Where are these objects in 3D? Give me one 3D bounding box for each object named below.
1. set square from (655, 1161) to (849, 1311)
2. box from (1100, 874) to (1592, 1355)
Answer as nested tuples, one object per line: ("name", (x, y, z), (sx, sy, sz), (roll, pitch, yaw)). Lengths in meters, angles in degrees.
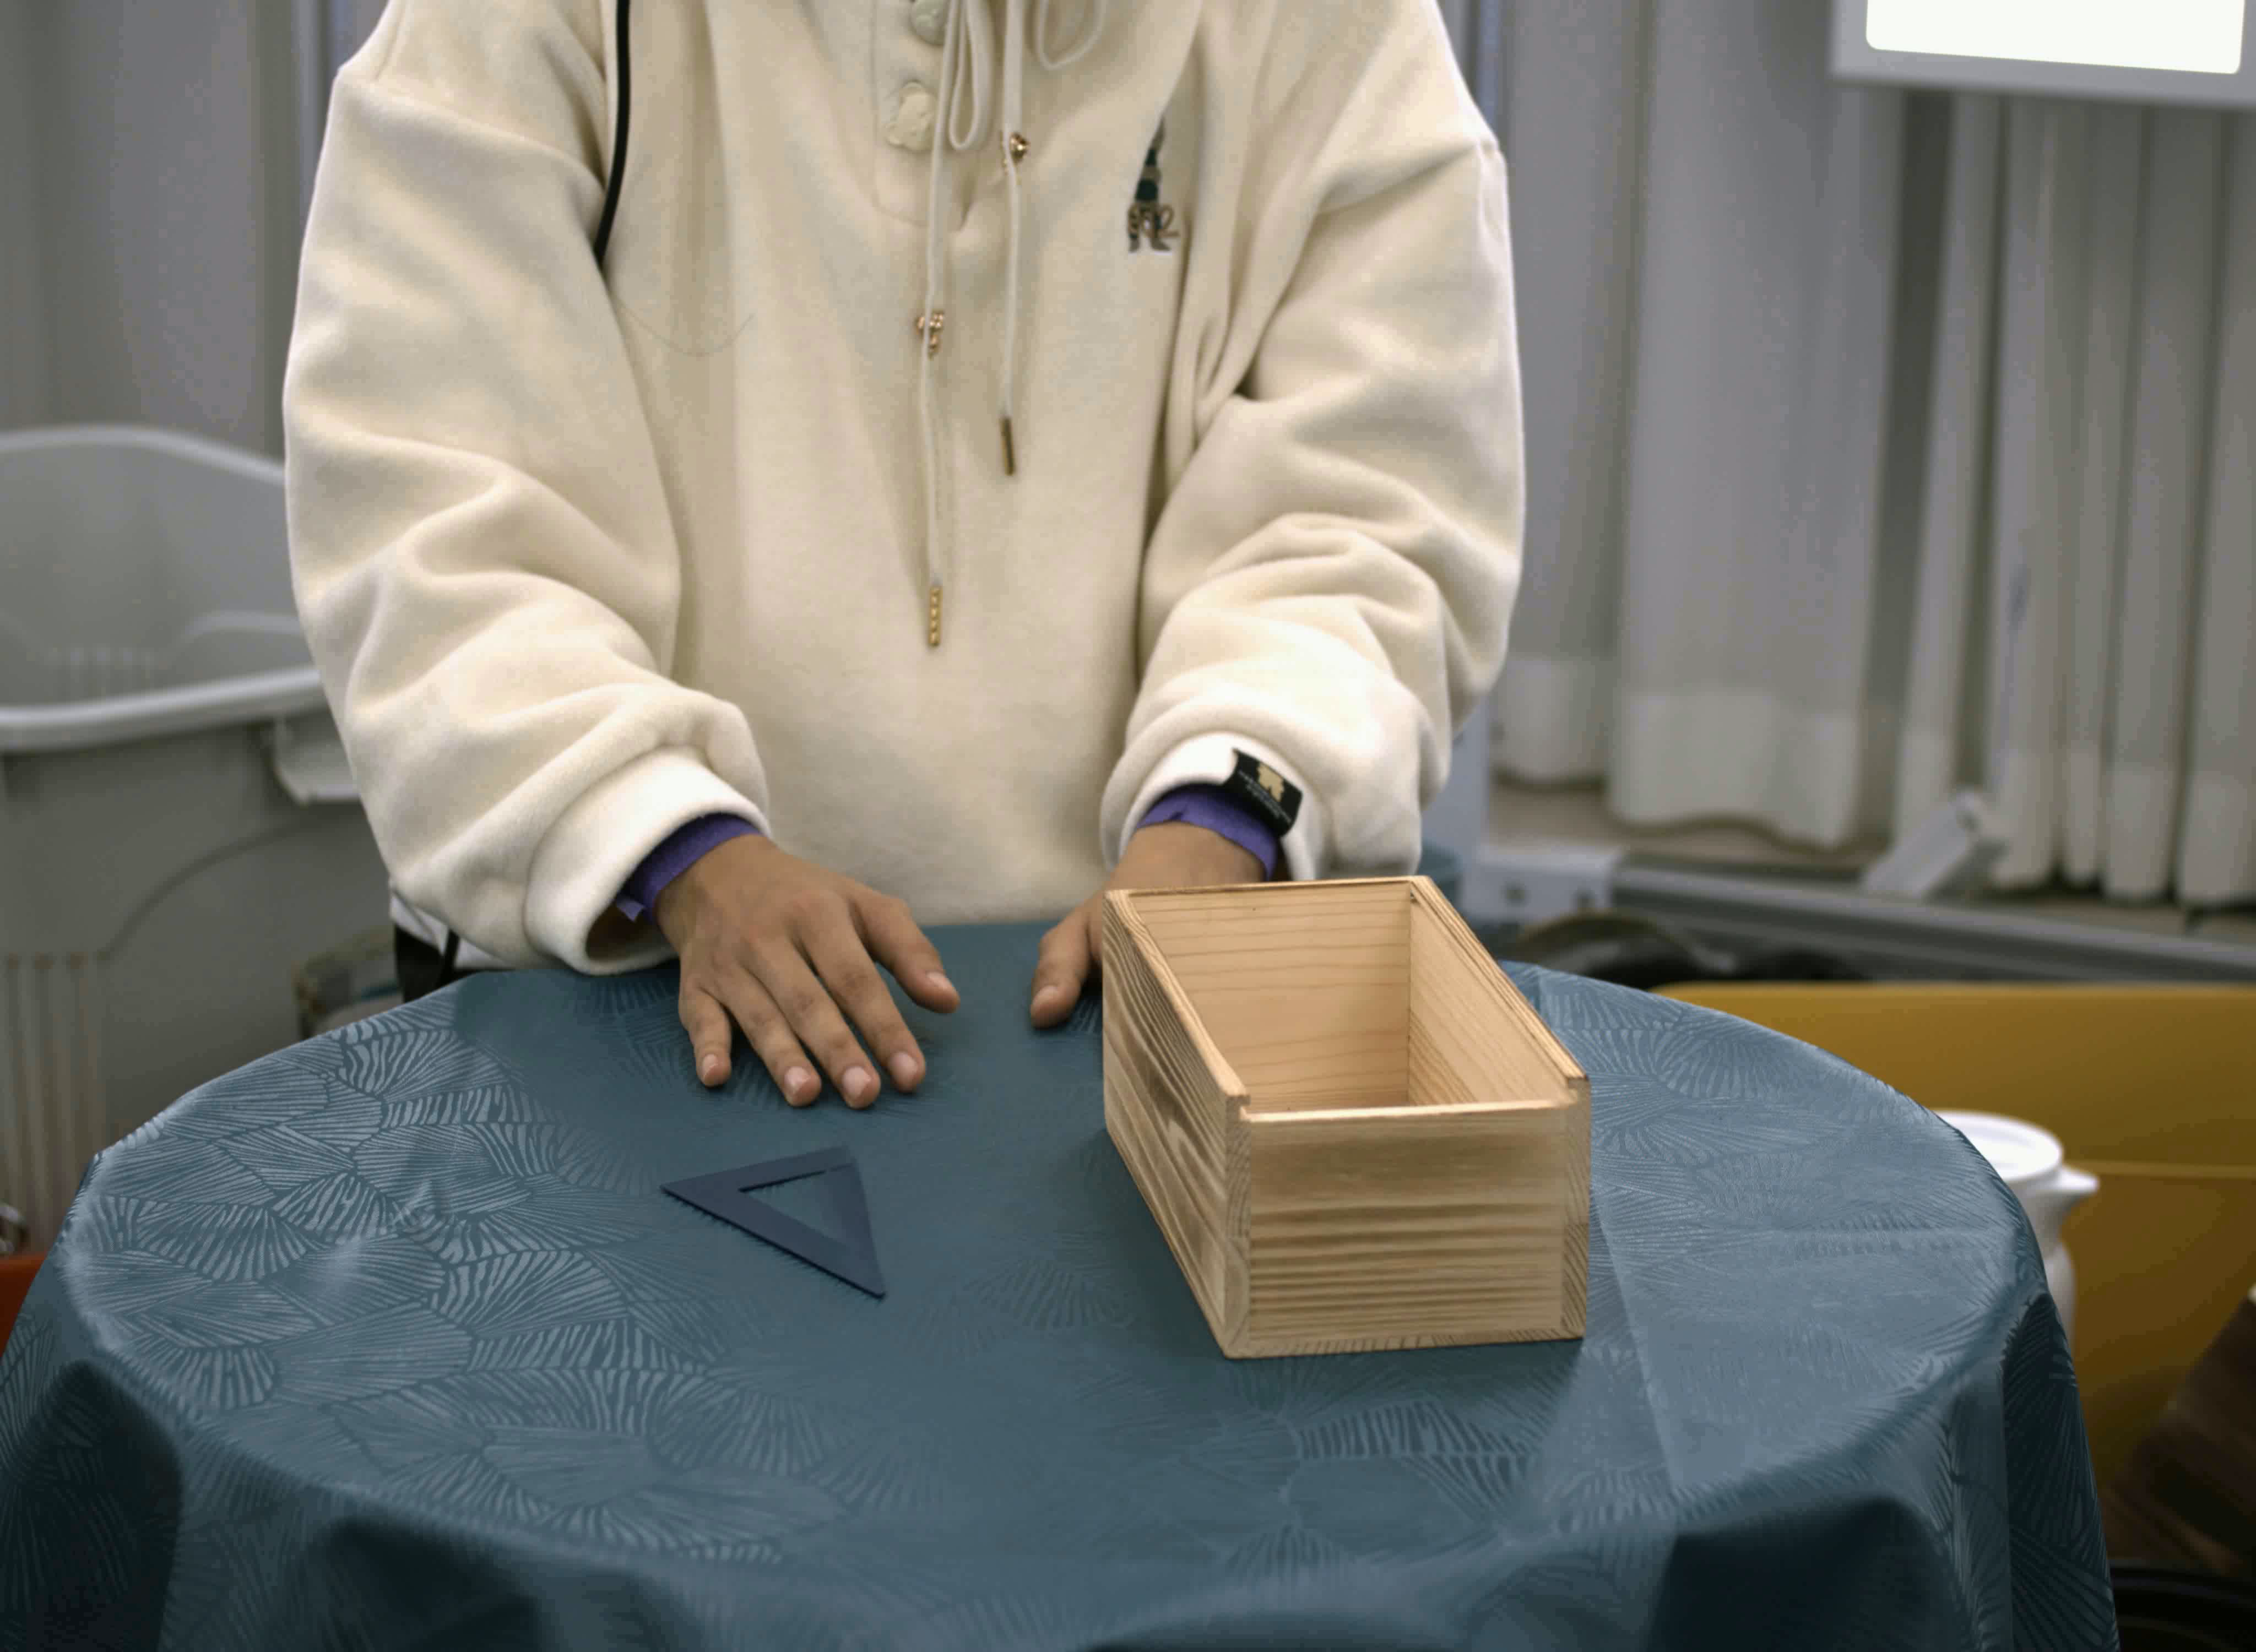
("set square", (-0.113, 0.121, 1.579), (0.061, 0.006, 0.131), (1, 15, -3))
("box", (0.061, 0.082, 1.581), (0.107, 0.081, 0.209), (-2, 16, -10))
